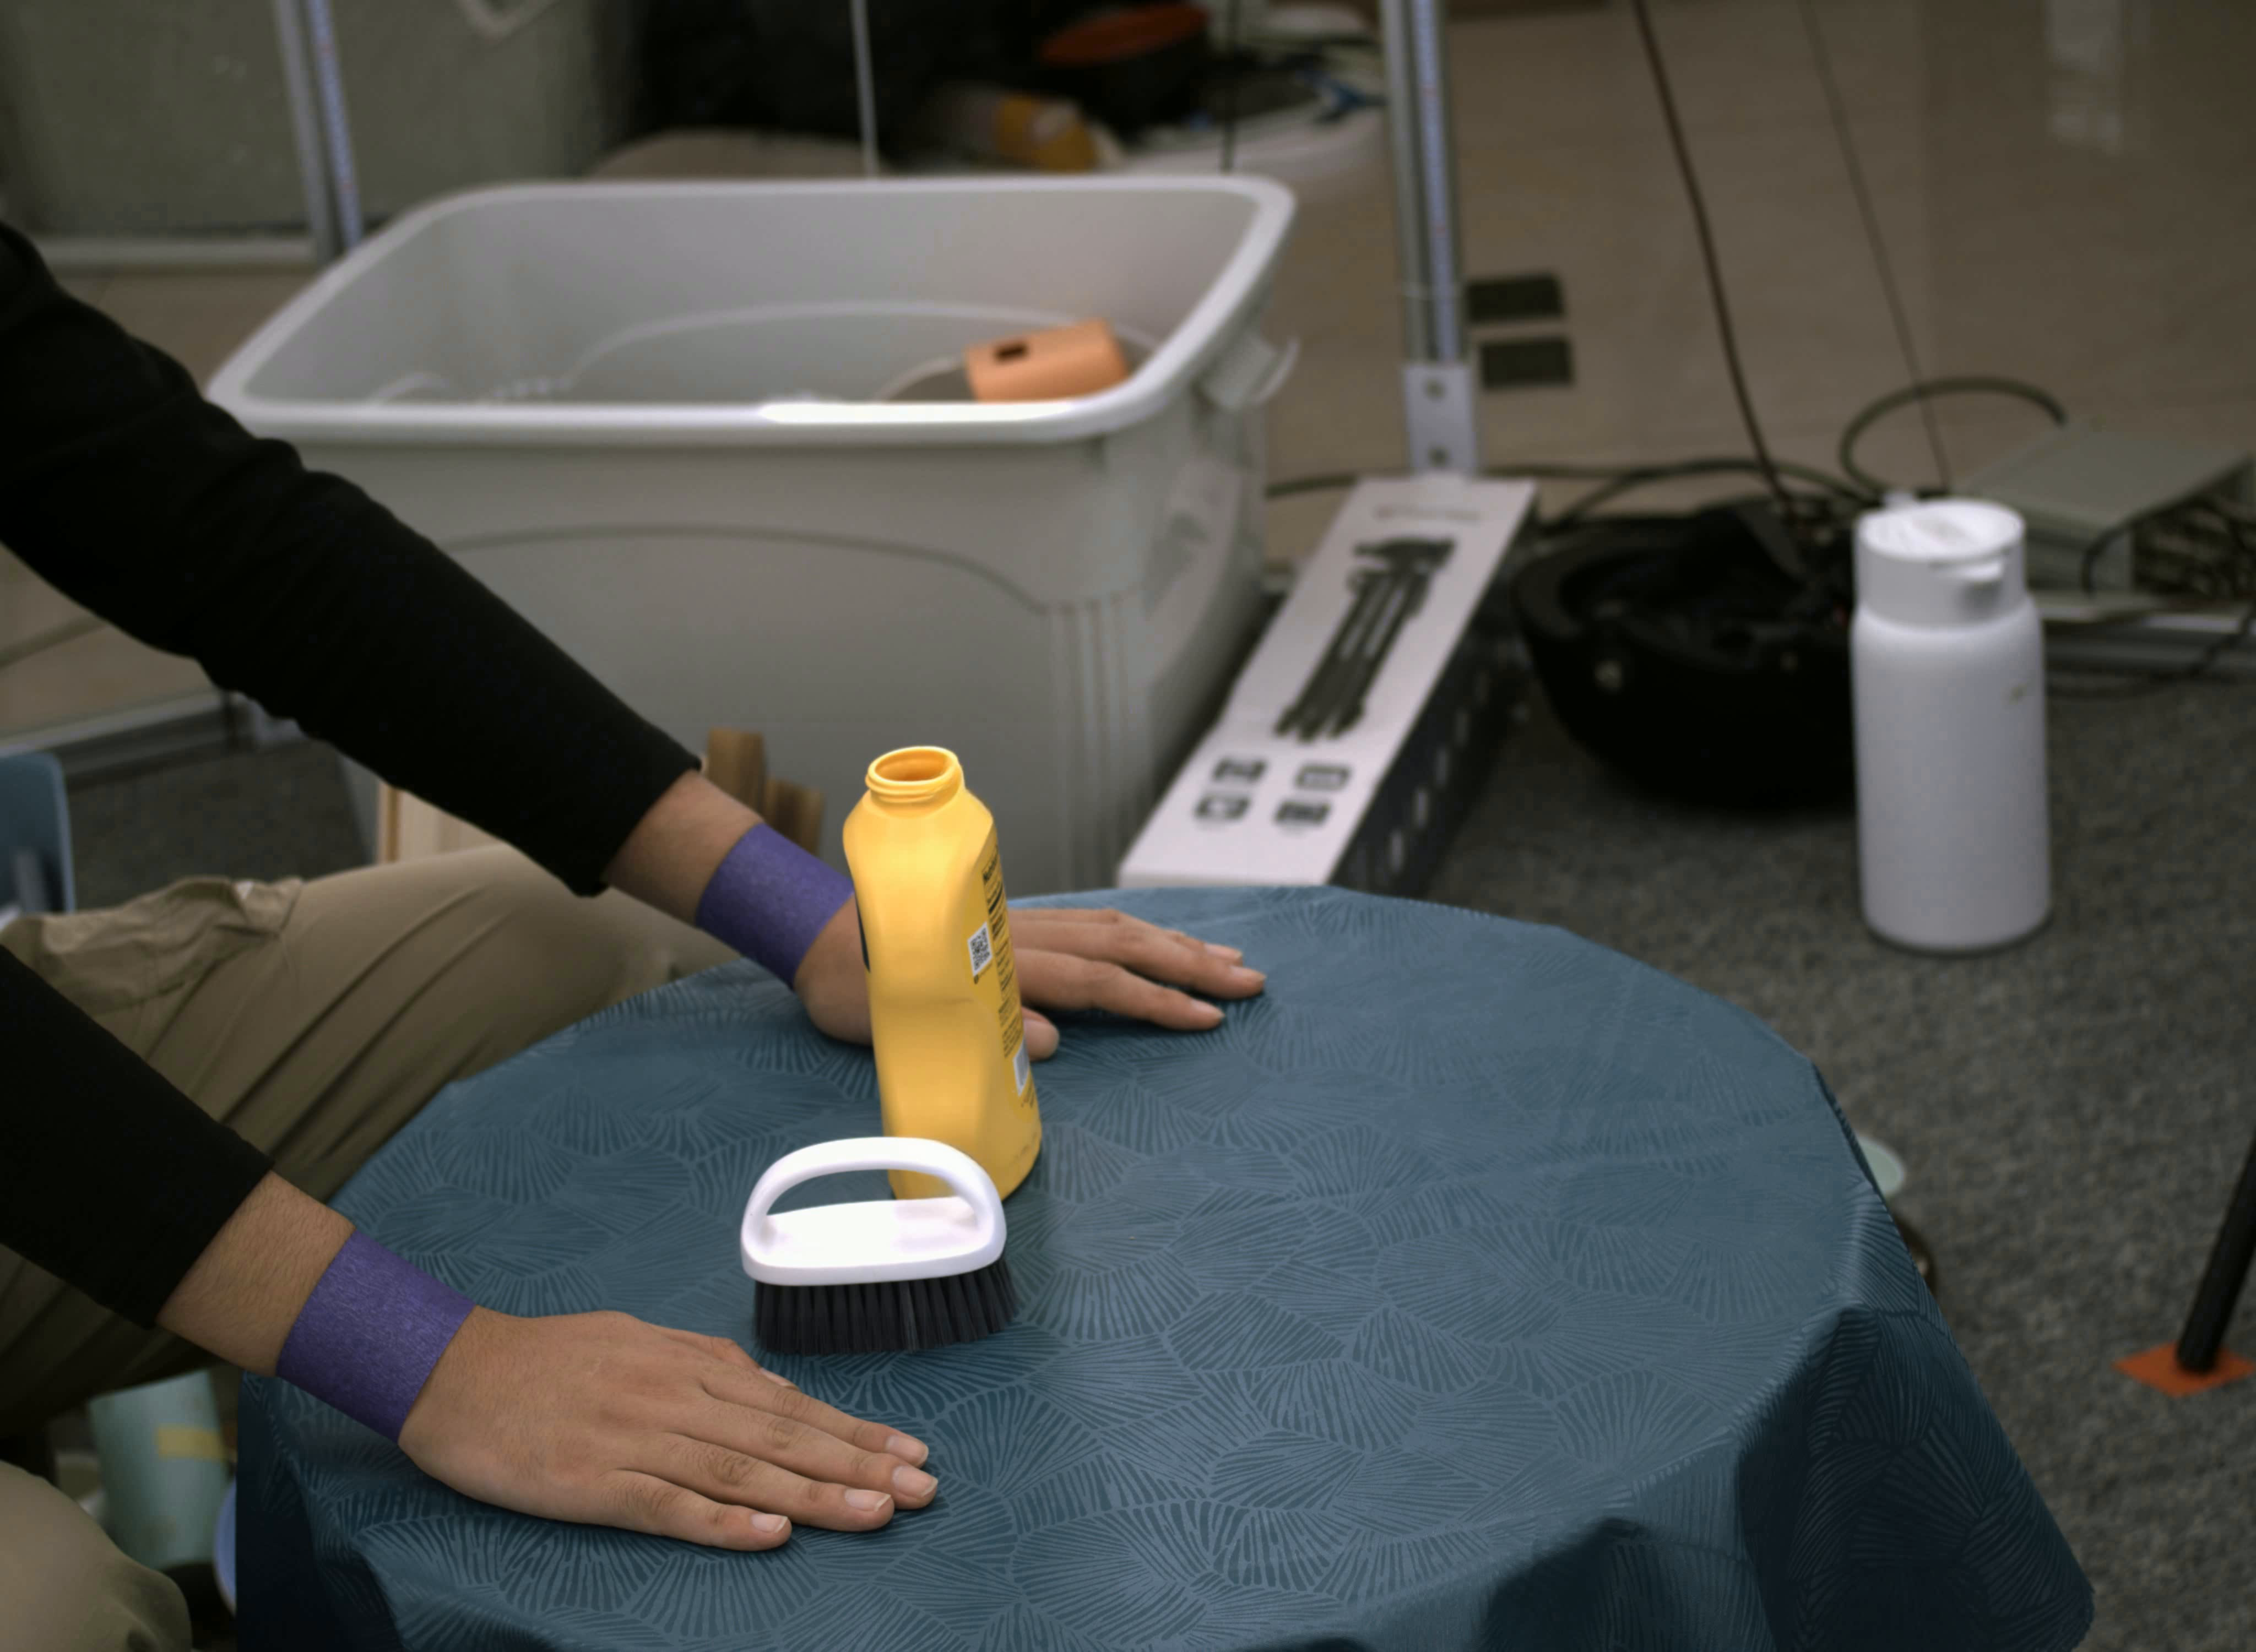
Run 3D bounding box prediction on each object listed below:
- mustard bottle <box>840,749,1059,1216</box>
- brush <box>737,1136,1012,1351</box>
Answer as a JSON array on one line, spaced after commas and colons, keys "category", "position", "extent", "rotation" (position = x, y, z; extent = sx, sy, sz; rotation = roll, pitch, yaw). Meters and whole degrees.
[{"category": "mustard bottle", "position": [-0.069, 0.056, 2.140], "extent": [0.059, 0.175, 0.097], "rotation": [-8, 26, 7]}, {"category": "brush", "position": [-0.094, 0.147, 2.062], "extent": [0.099, 0.073, 0.049], "rotation": [-2, 25, 6]}]
